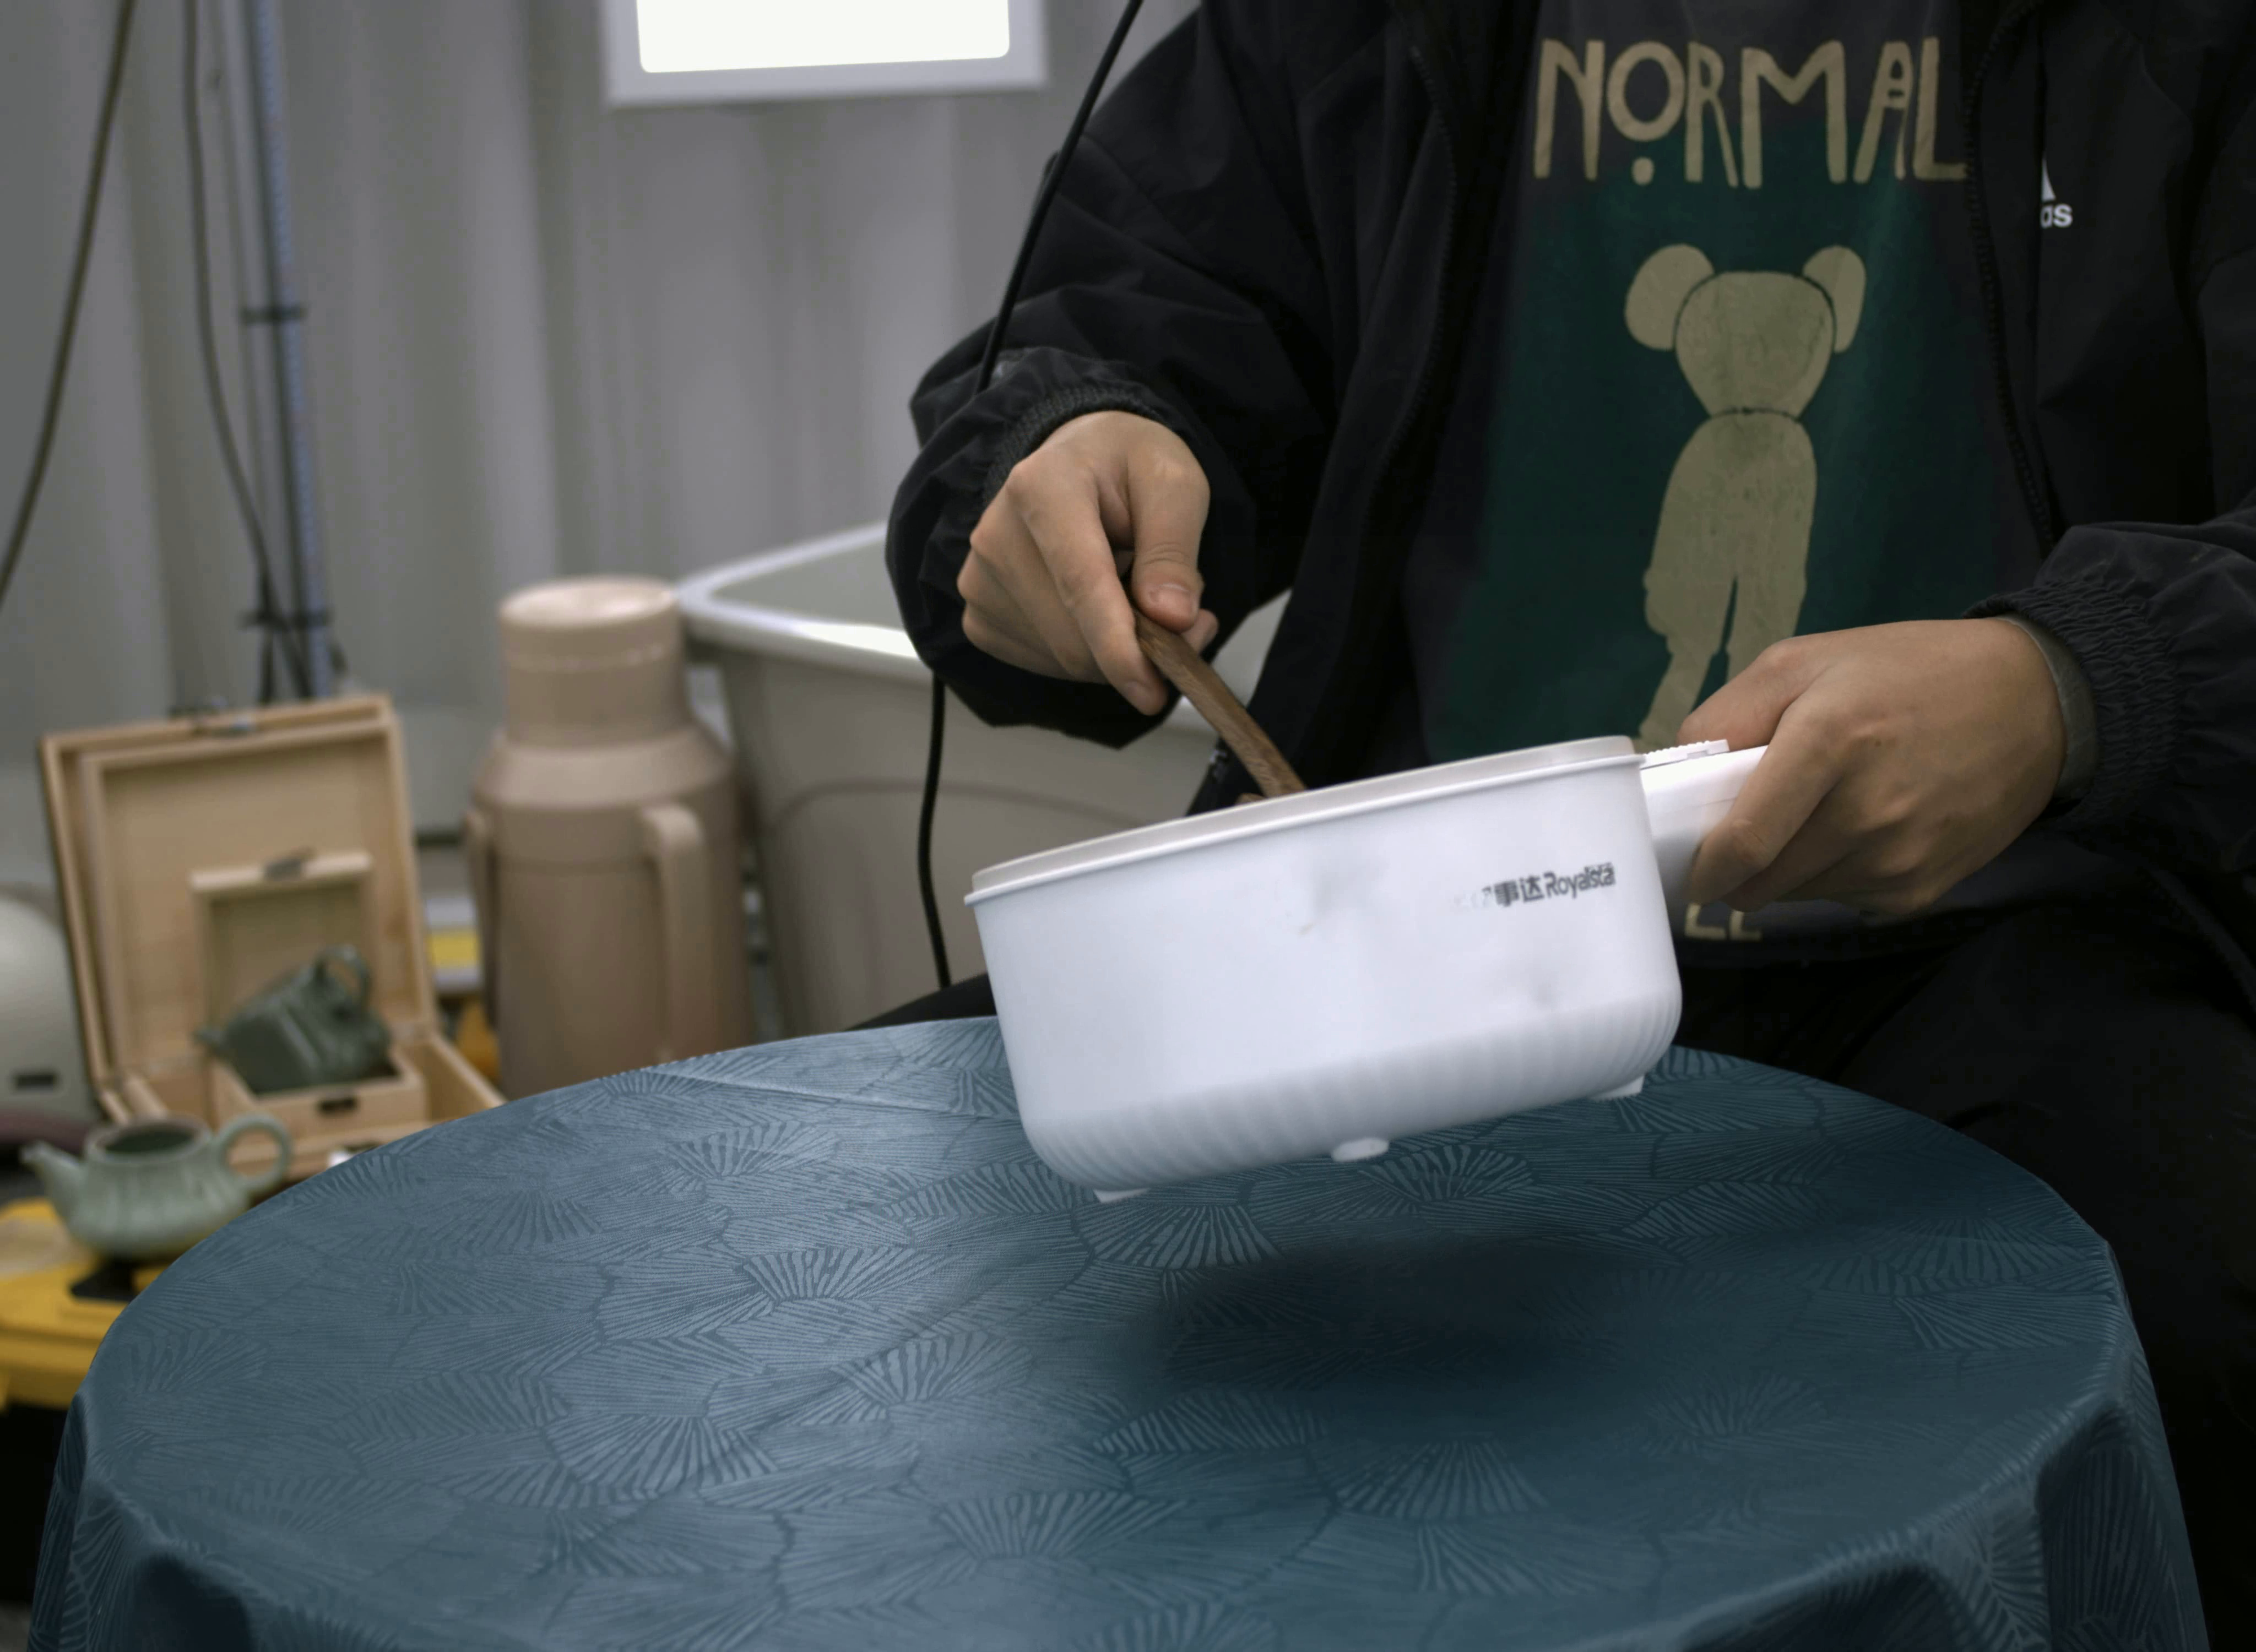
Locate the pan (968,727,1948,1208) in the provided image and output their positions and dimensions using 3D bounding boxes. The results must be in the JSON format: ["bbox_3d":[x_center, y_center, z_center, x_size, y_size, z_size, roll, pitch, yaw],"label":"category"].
[{"bbox_3d":[0.118,0.037,1.625,0.353,0.102,0.201,-8,-6,-41],"label":"pan"}]

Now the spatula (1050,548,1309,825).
[{"bbox_3d":[0.032,-0.032,1.722,0.095,0.016,0.390,29,9,-22],"label":"spatula"}]
